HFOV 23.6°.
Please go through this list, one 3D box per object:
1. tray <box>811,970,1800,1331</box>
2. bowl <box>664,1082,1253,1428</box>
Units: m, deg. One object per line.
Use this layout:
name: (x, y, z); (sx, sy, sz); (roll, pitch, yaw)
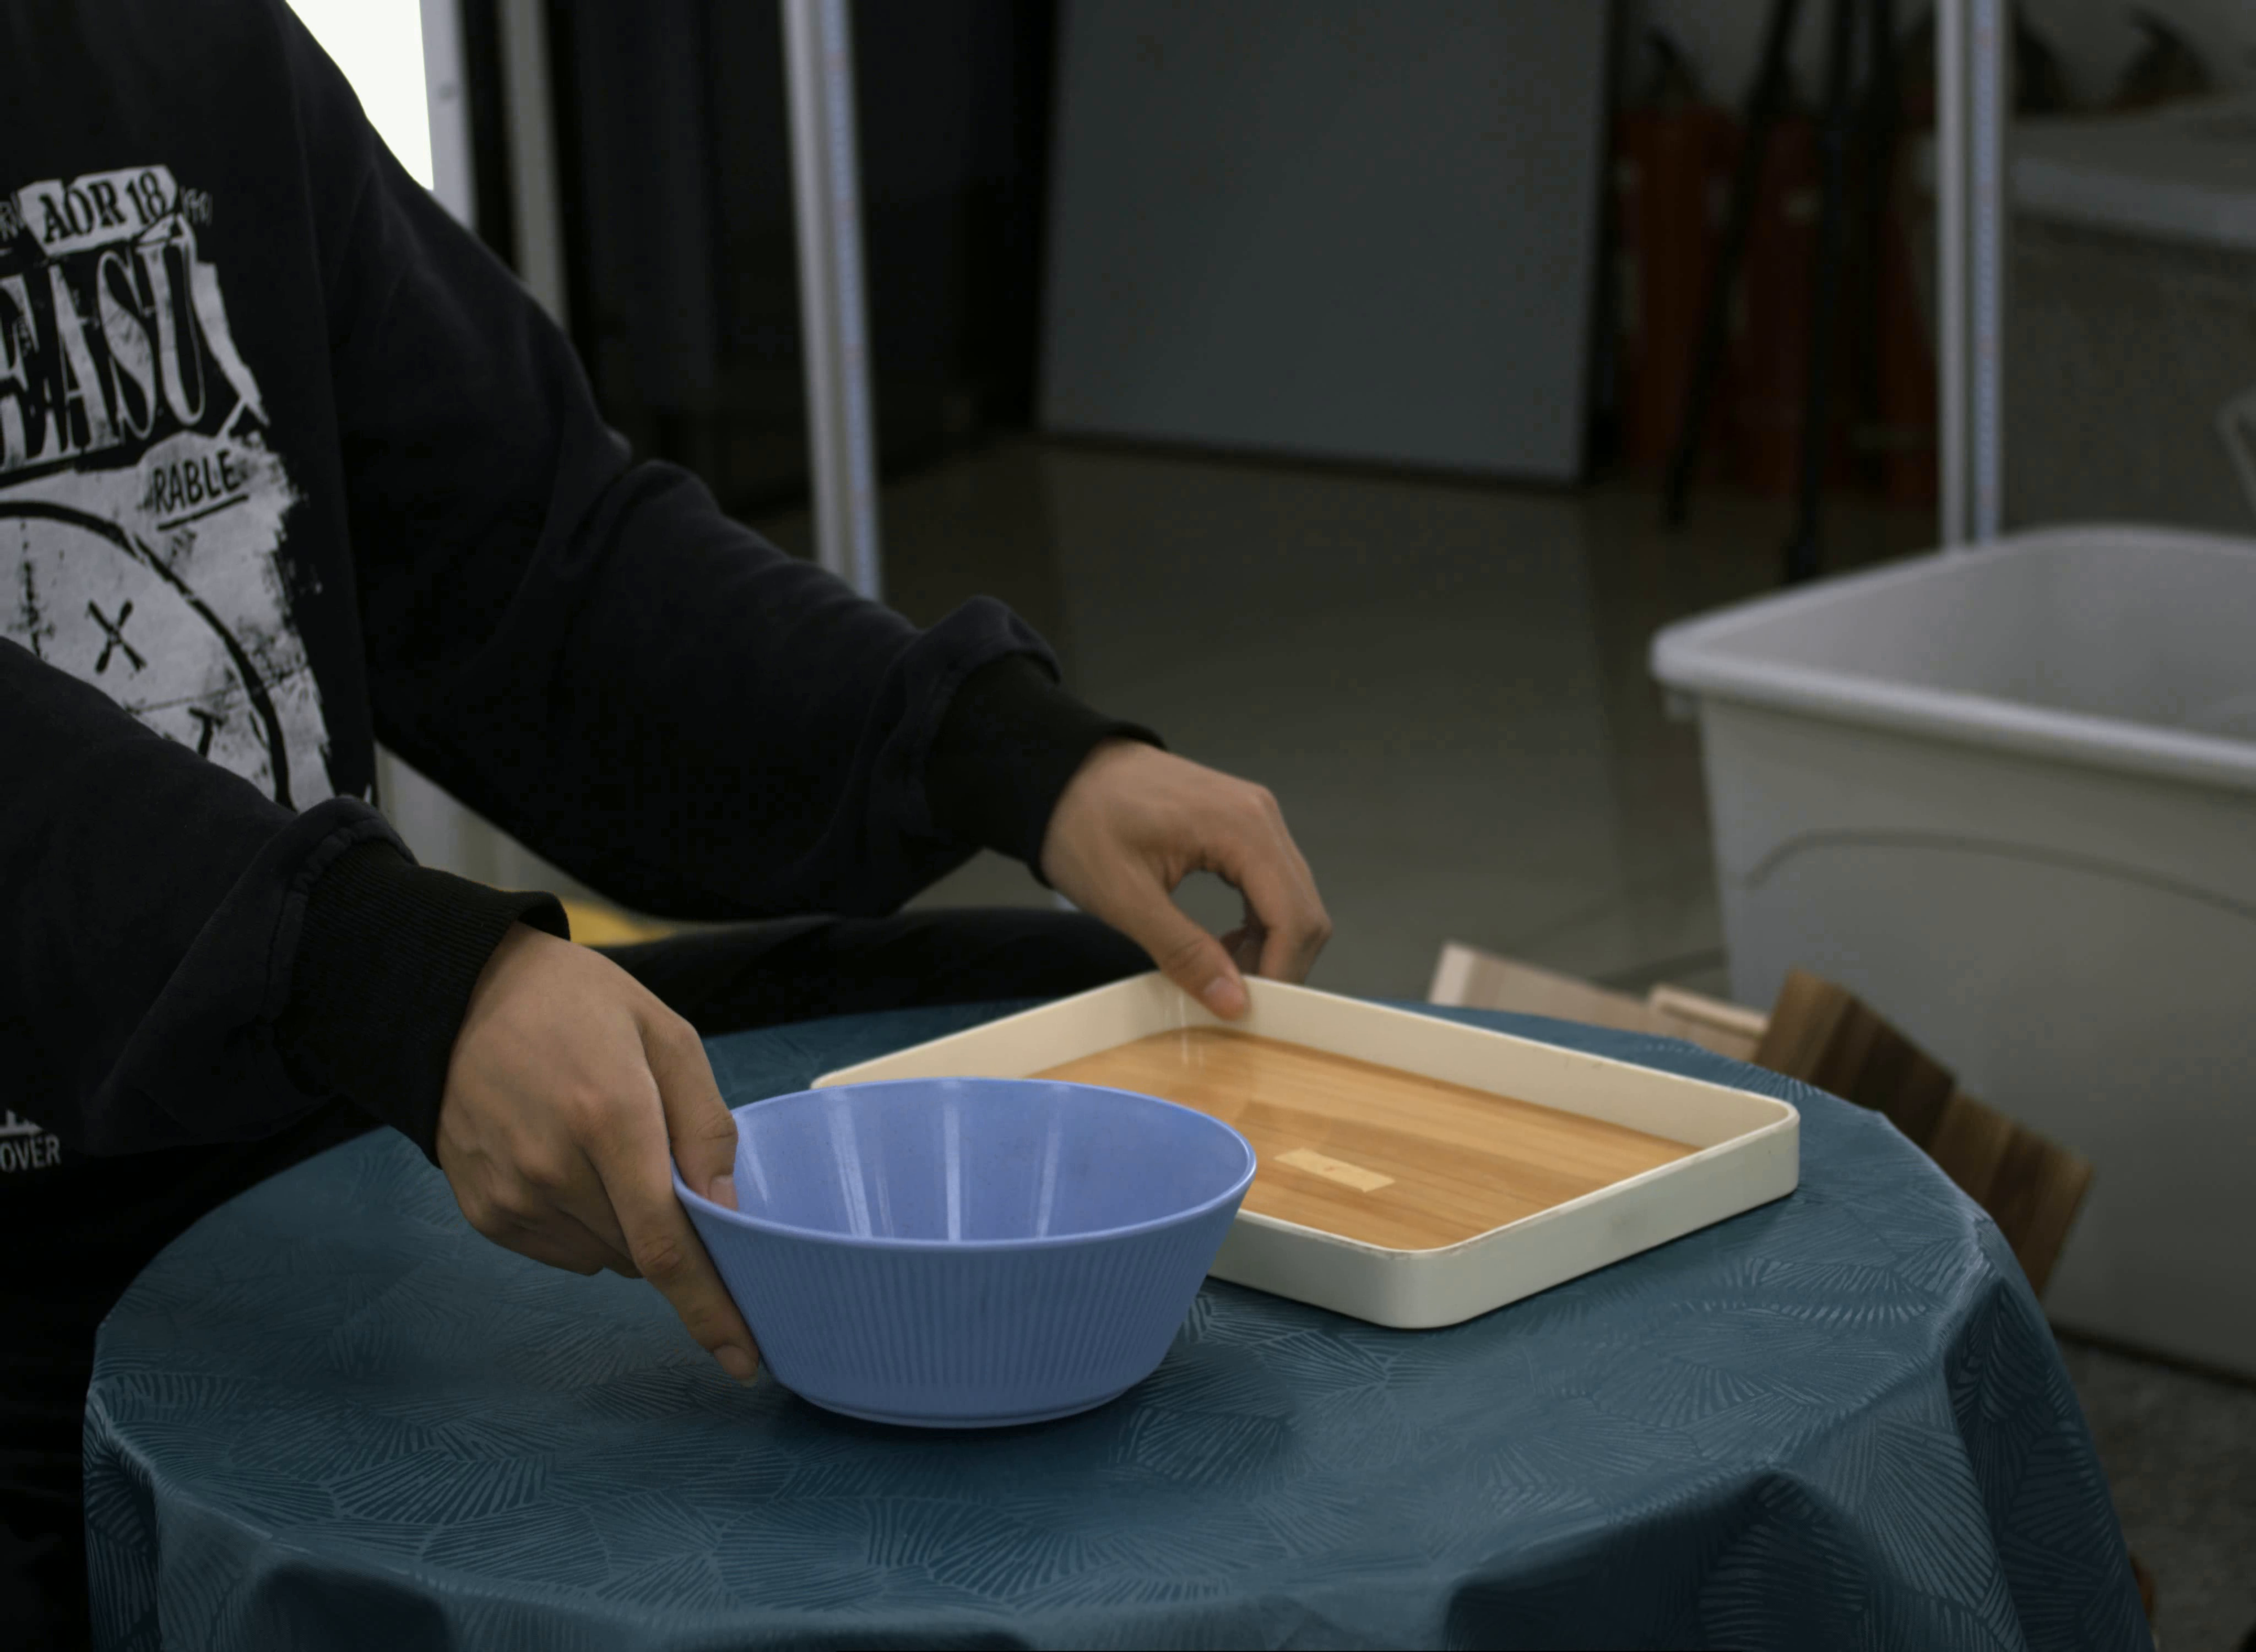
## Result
tray: (0.055, 0.103, 1.775); (0.187, 0.028, 0.303); (-16, 19, -40)
bowl: (-0.050, 0.128, 1.595); (0.173, 0.071, 0.176); (0, 12, -1)
